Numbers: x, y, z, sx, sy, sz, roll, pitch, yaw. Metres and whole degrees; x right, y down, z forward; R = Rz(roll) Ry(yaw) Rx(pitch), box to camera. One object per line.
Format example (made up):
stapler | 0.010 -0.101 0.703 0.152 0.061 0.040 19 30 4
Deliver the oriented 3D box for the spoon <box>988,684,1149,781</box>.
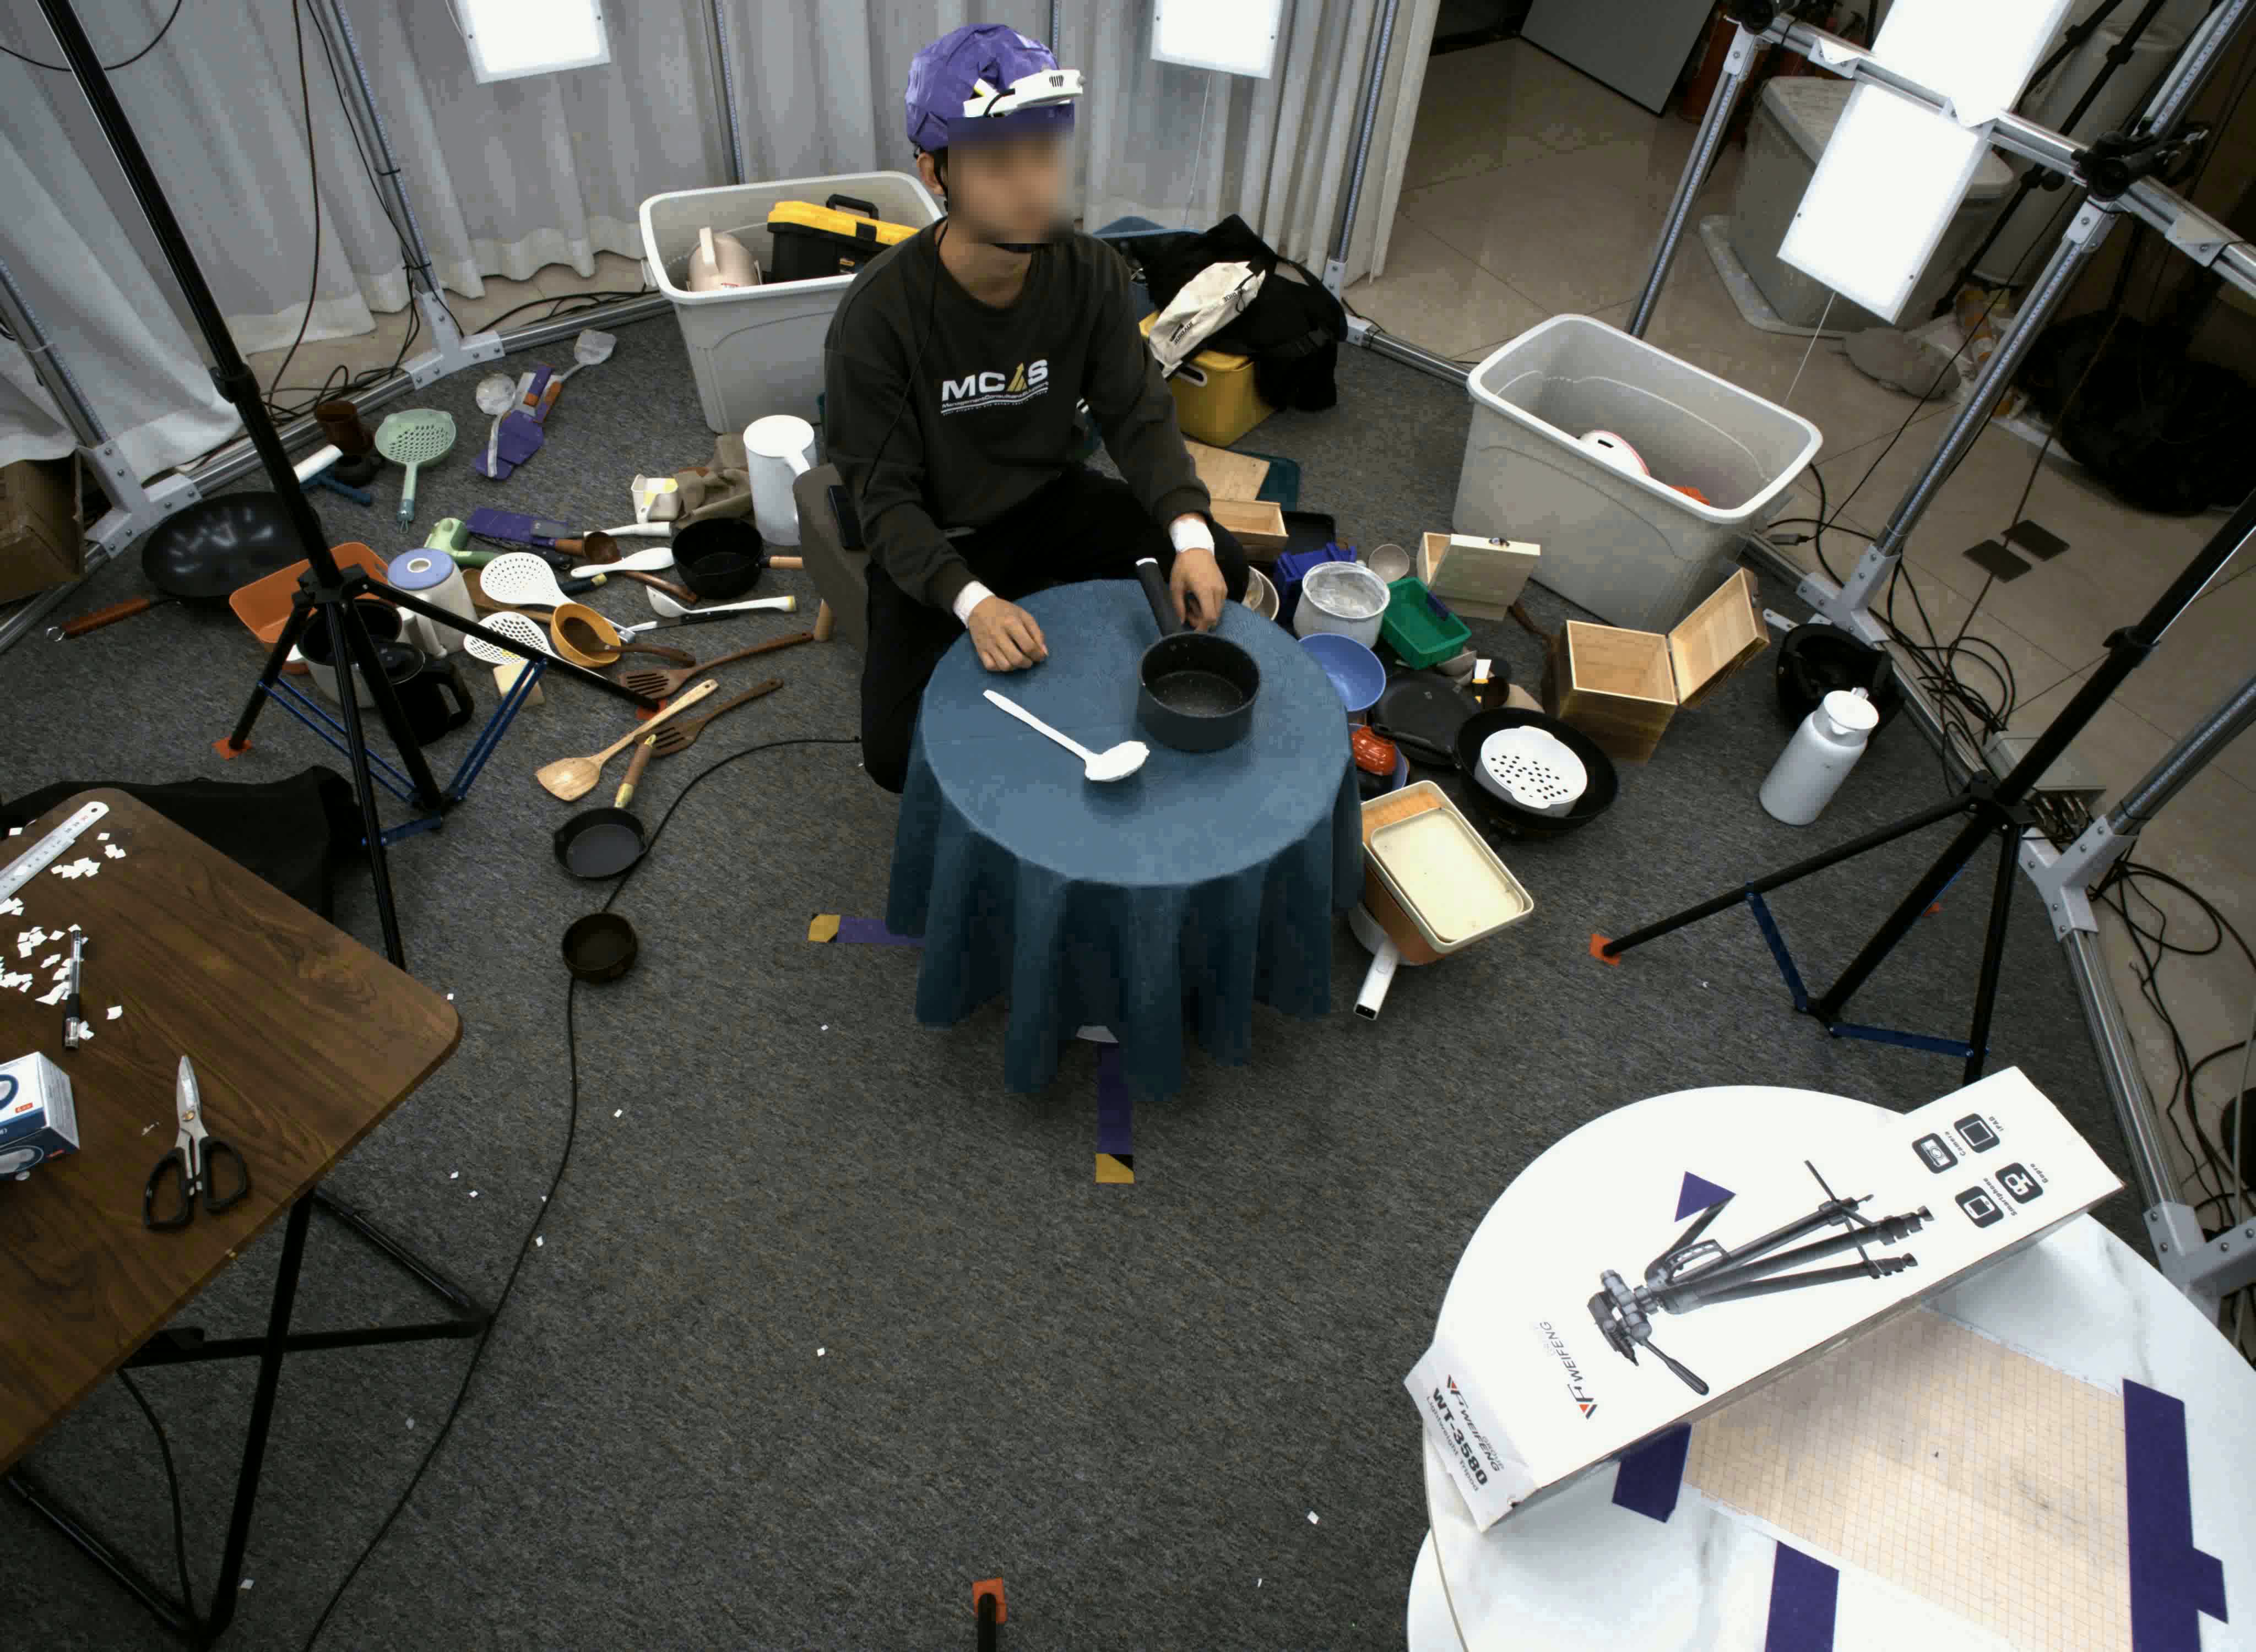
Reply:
spoon | -0.087 -0.143 1.748 0.281 0.058 0.102 36 54 25

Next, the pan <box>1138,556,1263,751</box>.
pan | 0.077 -0.248 1.834 0.172 0.084 0.337 -8 51 -12
